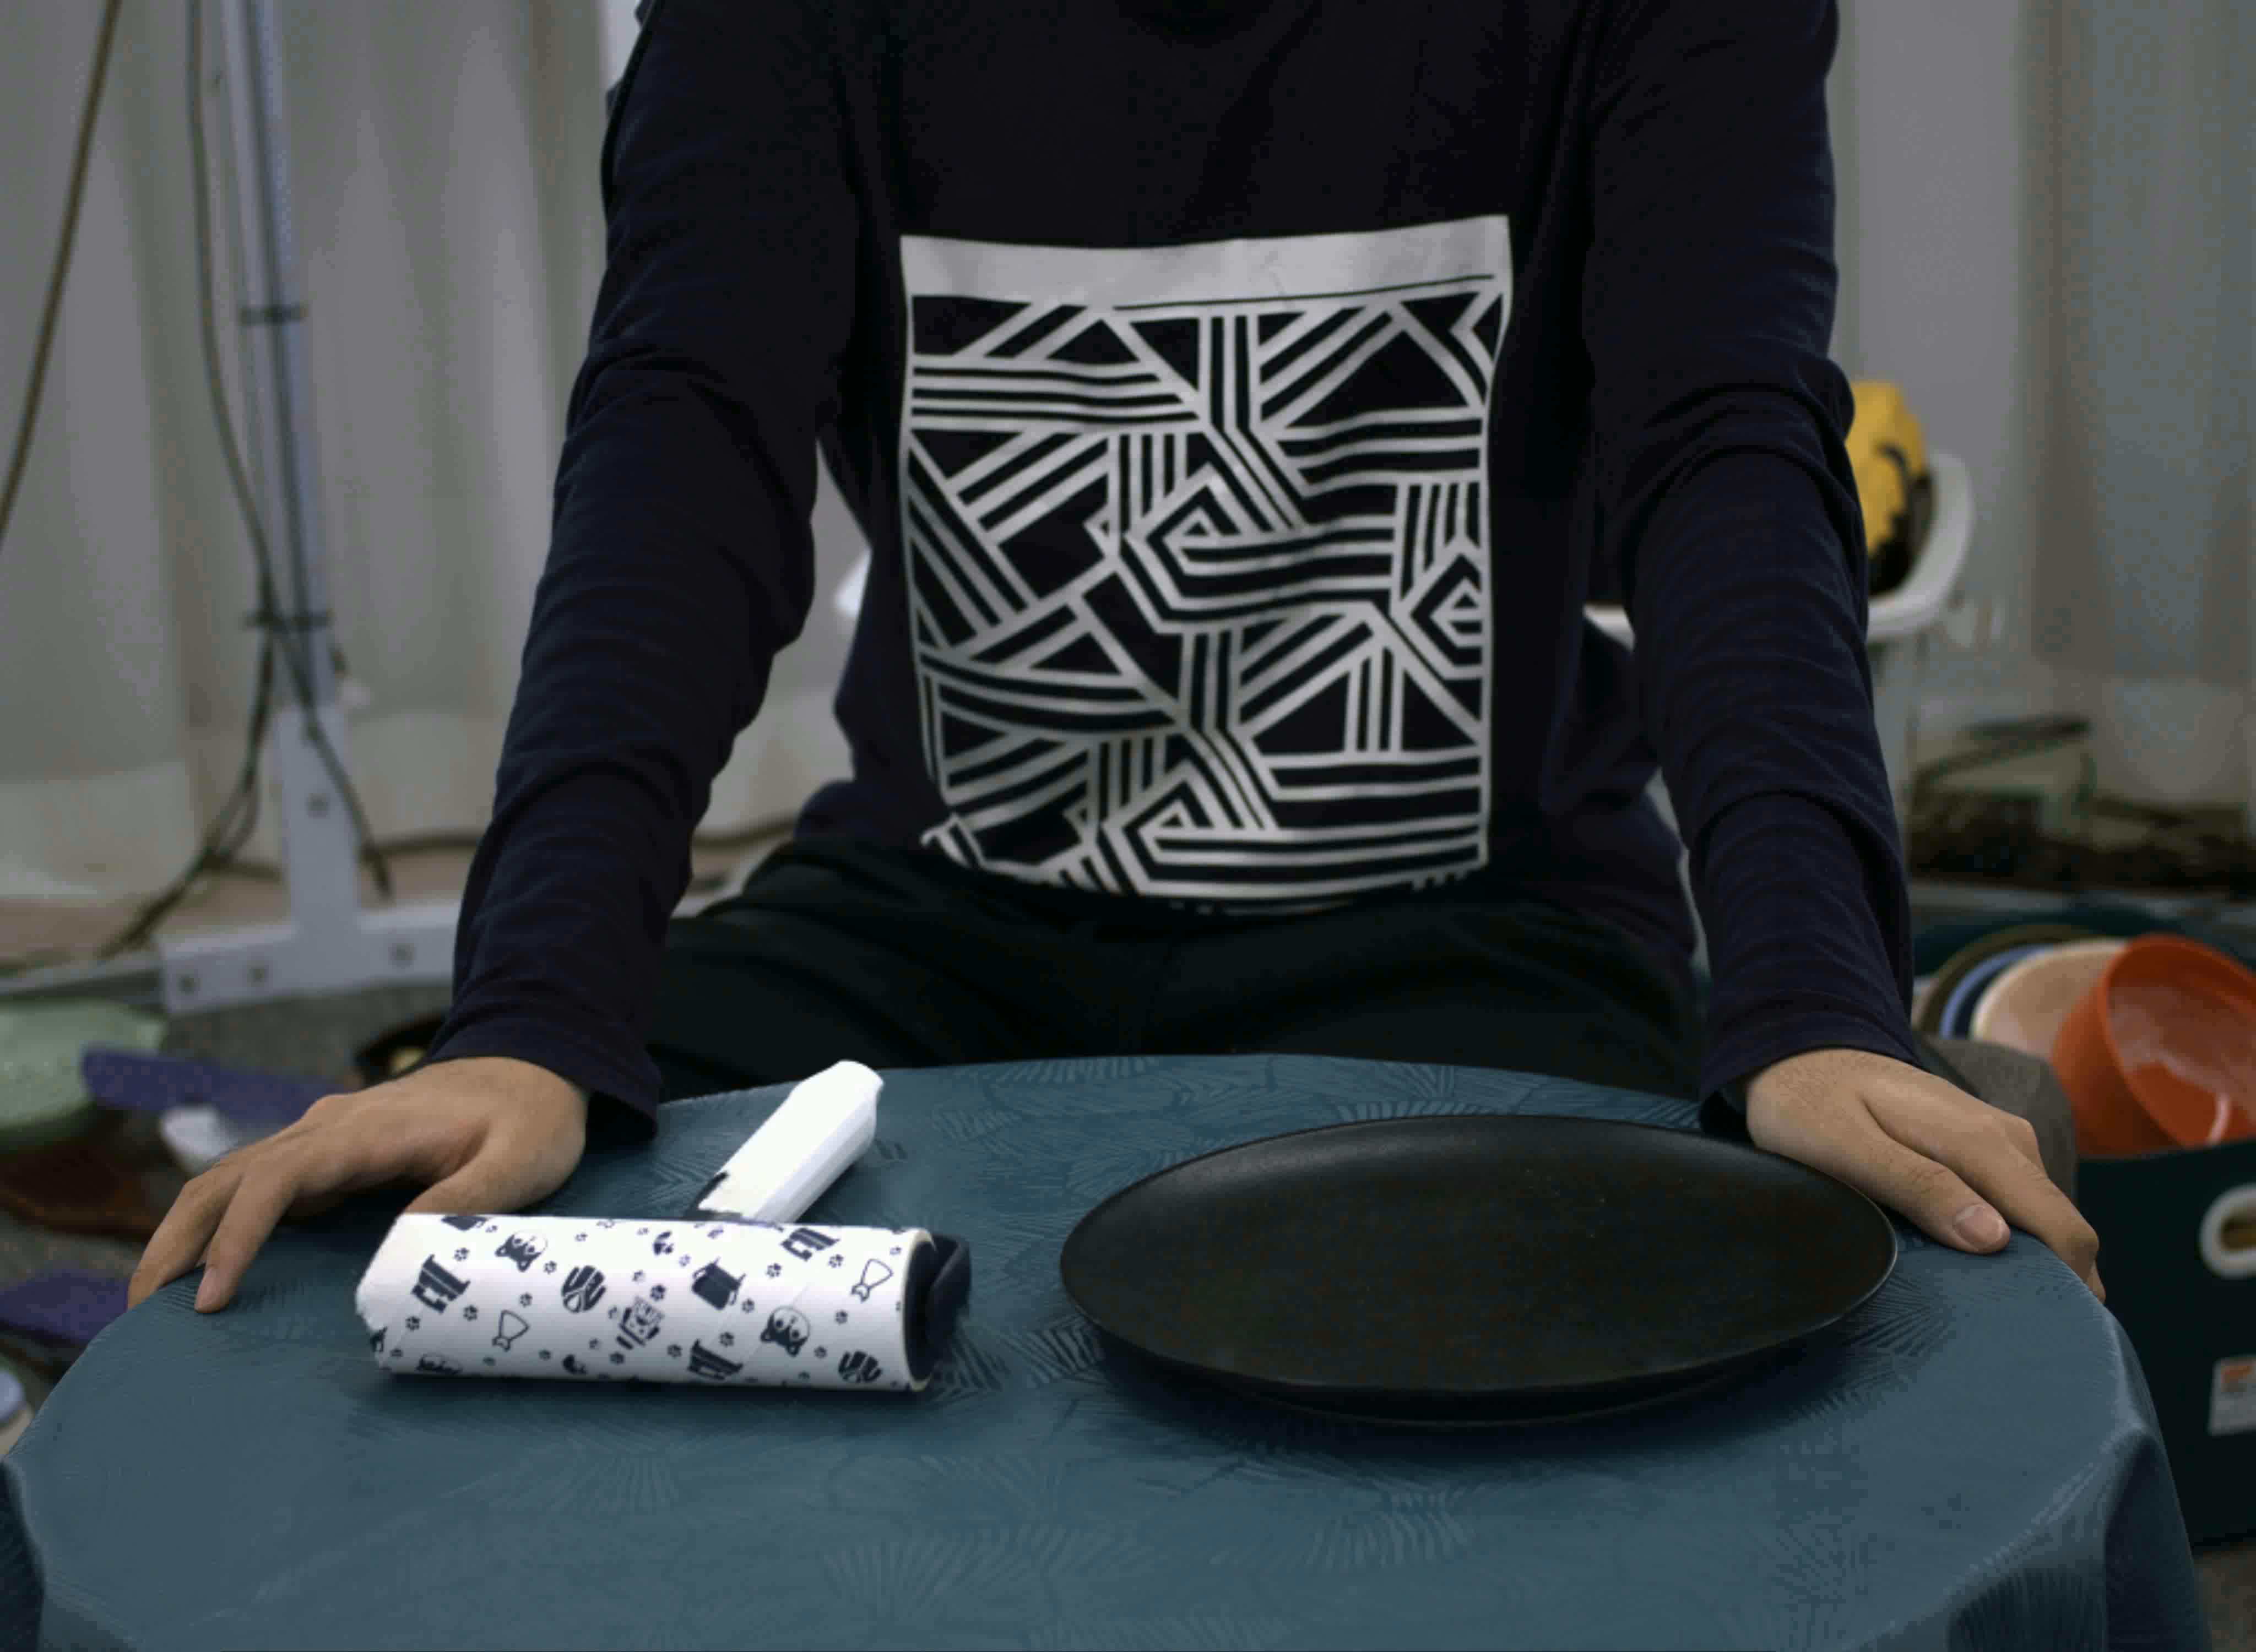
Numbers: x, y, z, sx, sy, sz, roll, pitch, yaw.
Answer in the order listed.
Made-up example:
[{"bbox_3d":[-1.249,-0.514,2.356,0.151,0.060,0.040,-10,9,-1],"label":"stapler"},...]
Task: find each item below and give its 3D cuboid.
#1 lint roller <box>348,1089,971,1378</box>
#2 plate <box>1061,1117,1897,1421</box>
[{"bbox_3d":[-0.117,0.113,1.665,0.176,0.050,0.248,0,12,12],"label":"lint roller"},{"bbox_3d":[0.102,0.131,1.593,0.243,0.023,0.246,-3,15,0],"label":"plate"}]
